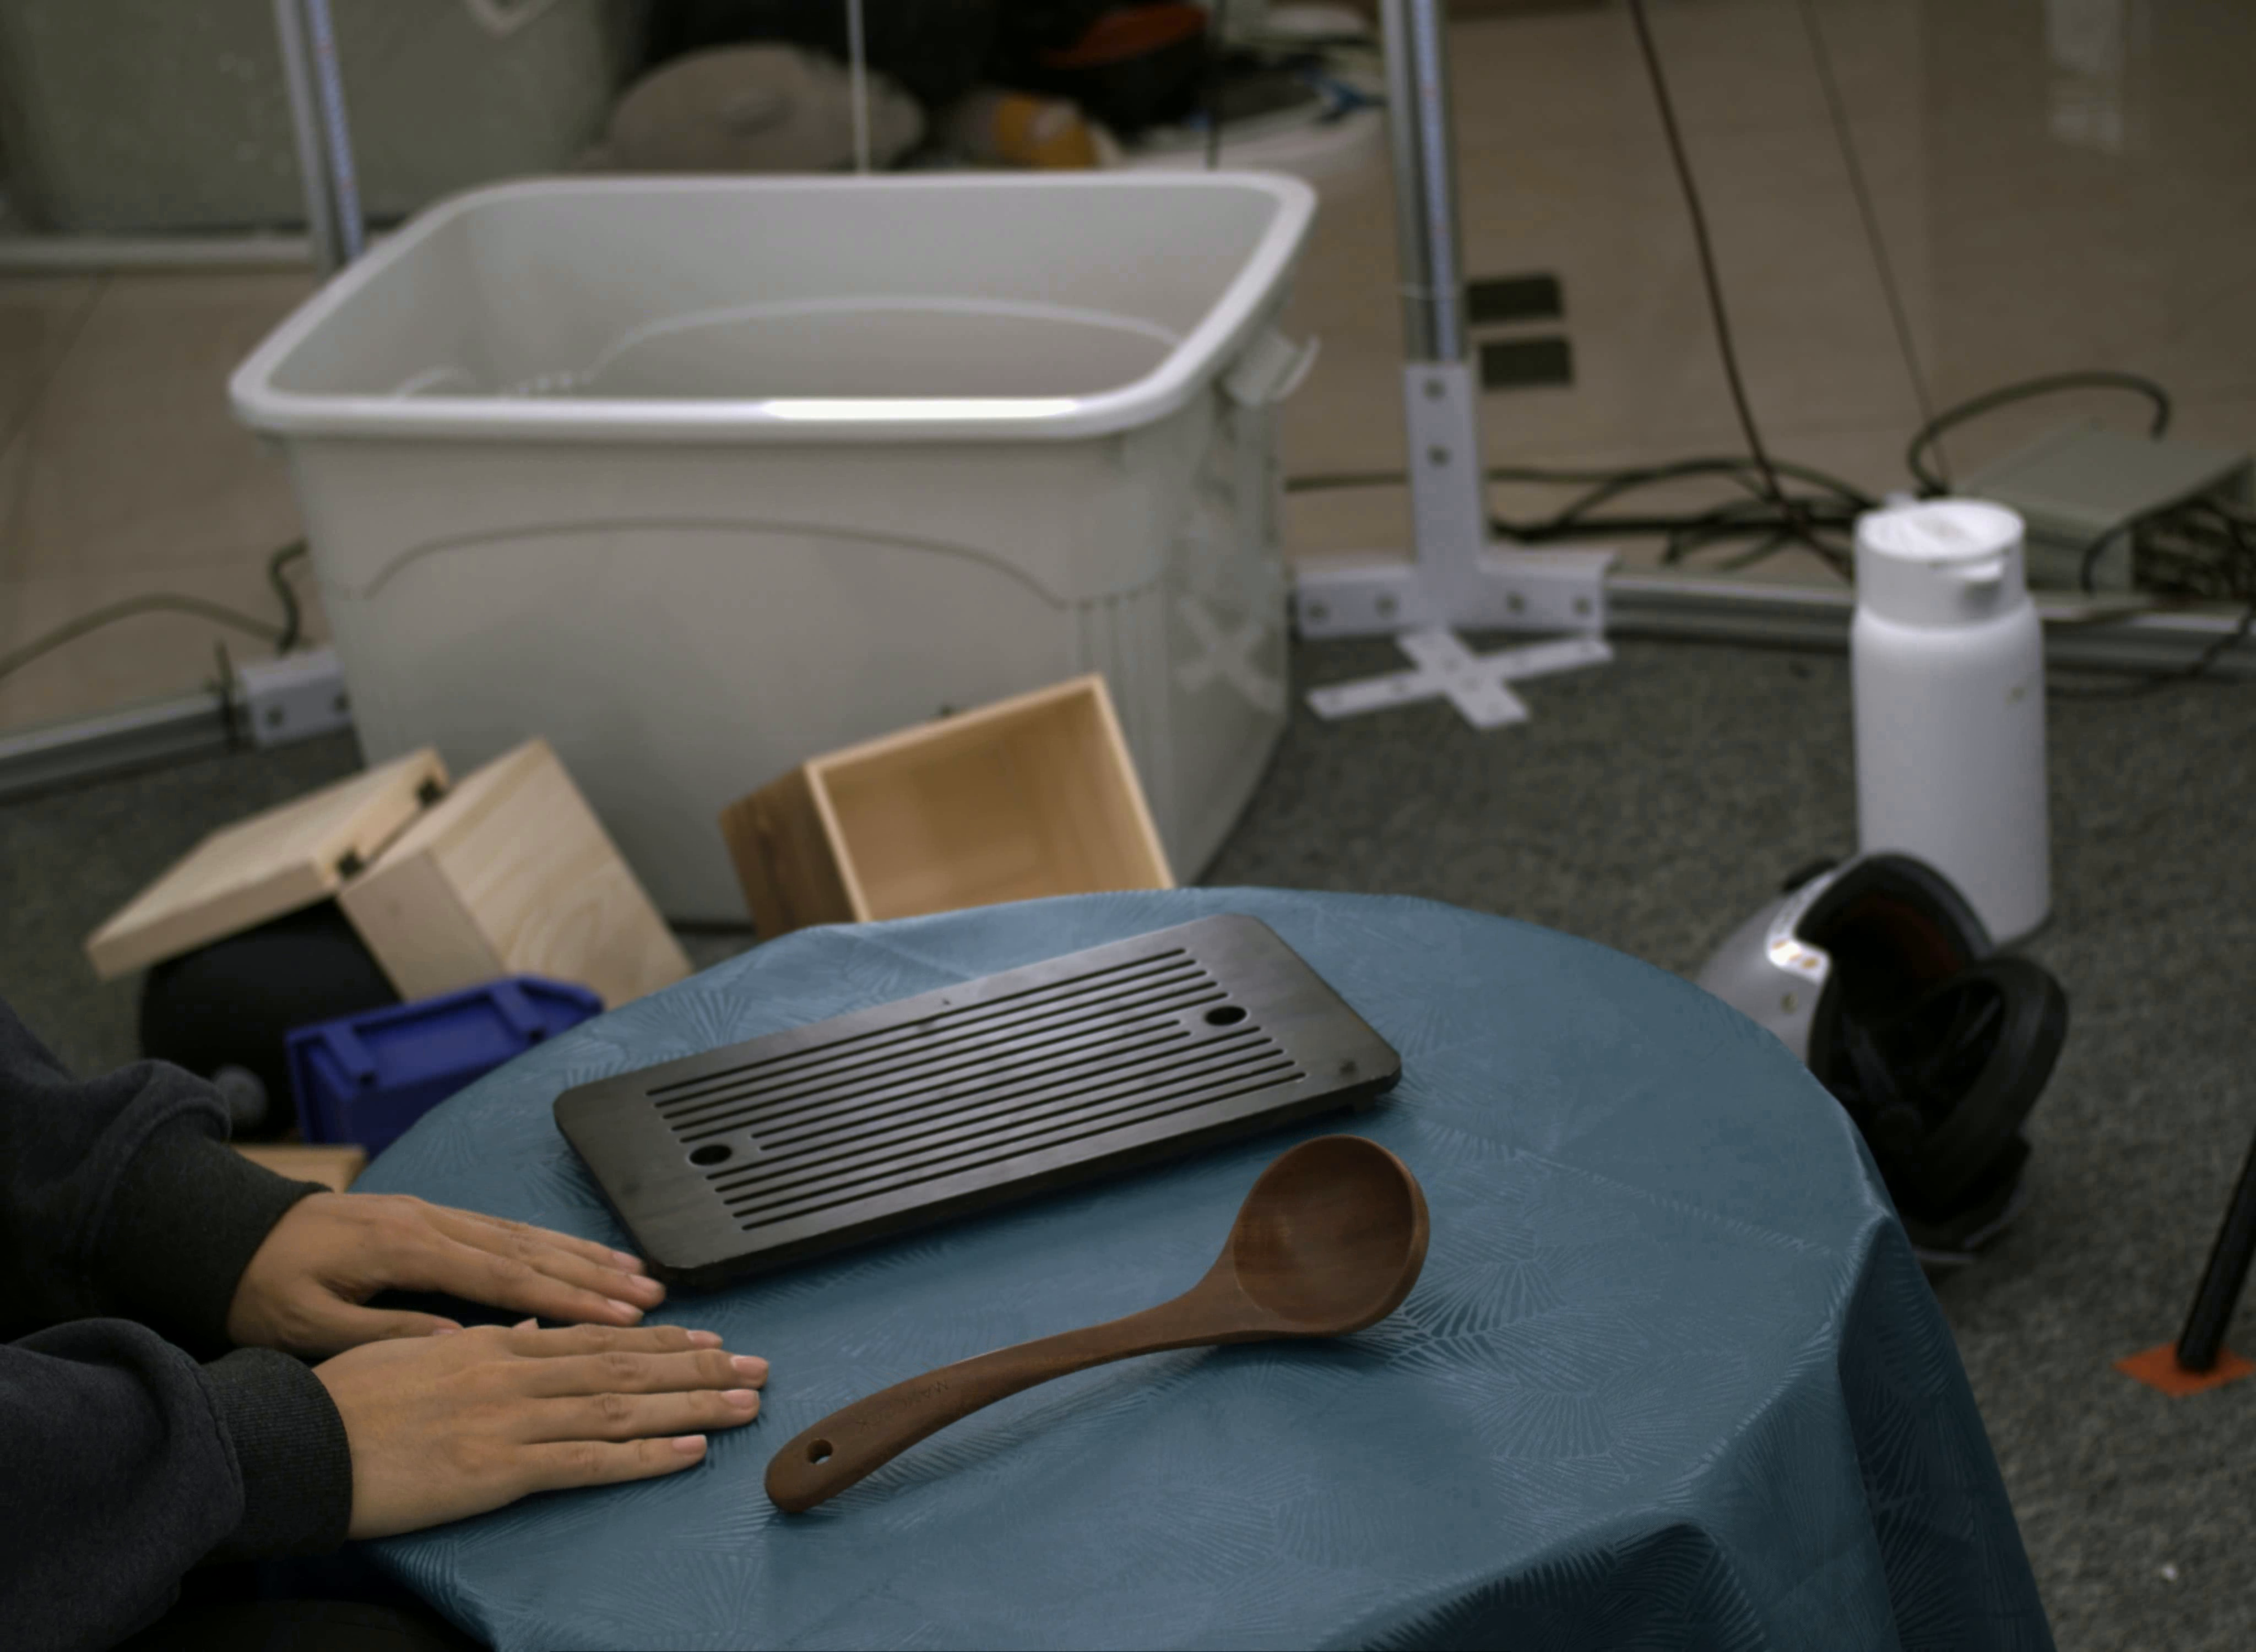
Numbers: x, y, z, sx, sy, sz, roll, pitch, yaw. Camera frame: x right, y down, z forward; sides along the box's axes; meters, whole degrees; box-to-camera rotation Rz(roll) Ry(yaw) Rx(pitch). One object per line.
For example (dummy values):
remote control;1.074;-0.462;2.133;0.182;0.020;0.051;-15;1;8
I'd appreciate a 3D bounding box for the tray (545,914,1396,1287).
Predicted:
tray;-0.063;0.106;2.212;0.305;0.019;0.168;-14;26;-16

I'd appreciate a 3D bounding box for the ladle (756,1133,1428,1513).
ladle;-0.012;0.175;1.995;0.259;0.066;0.075;-17;47;-23
